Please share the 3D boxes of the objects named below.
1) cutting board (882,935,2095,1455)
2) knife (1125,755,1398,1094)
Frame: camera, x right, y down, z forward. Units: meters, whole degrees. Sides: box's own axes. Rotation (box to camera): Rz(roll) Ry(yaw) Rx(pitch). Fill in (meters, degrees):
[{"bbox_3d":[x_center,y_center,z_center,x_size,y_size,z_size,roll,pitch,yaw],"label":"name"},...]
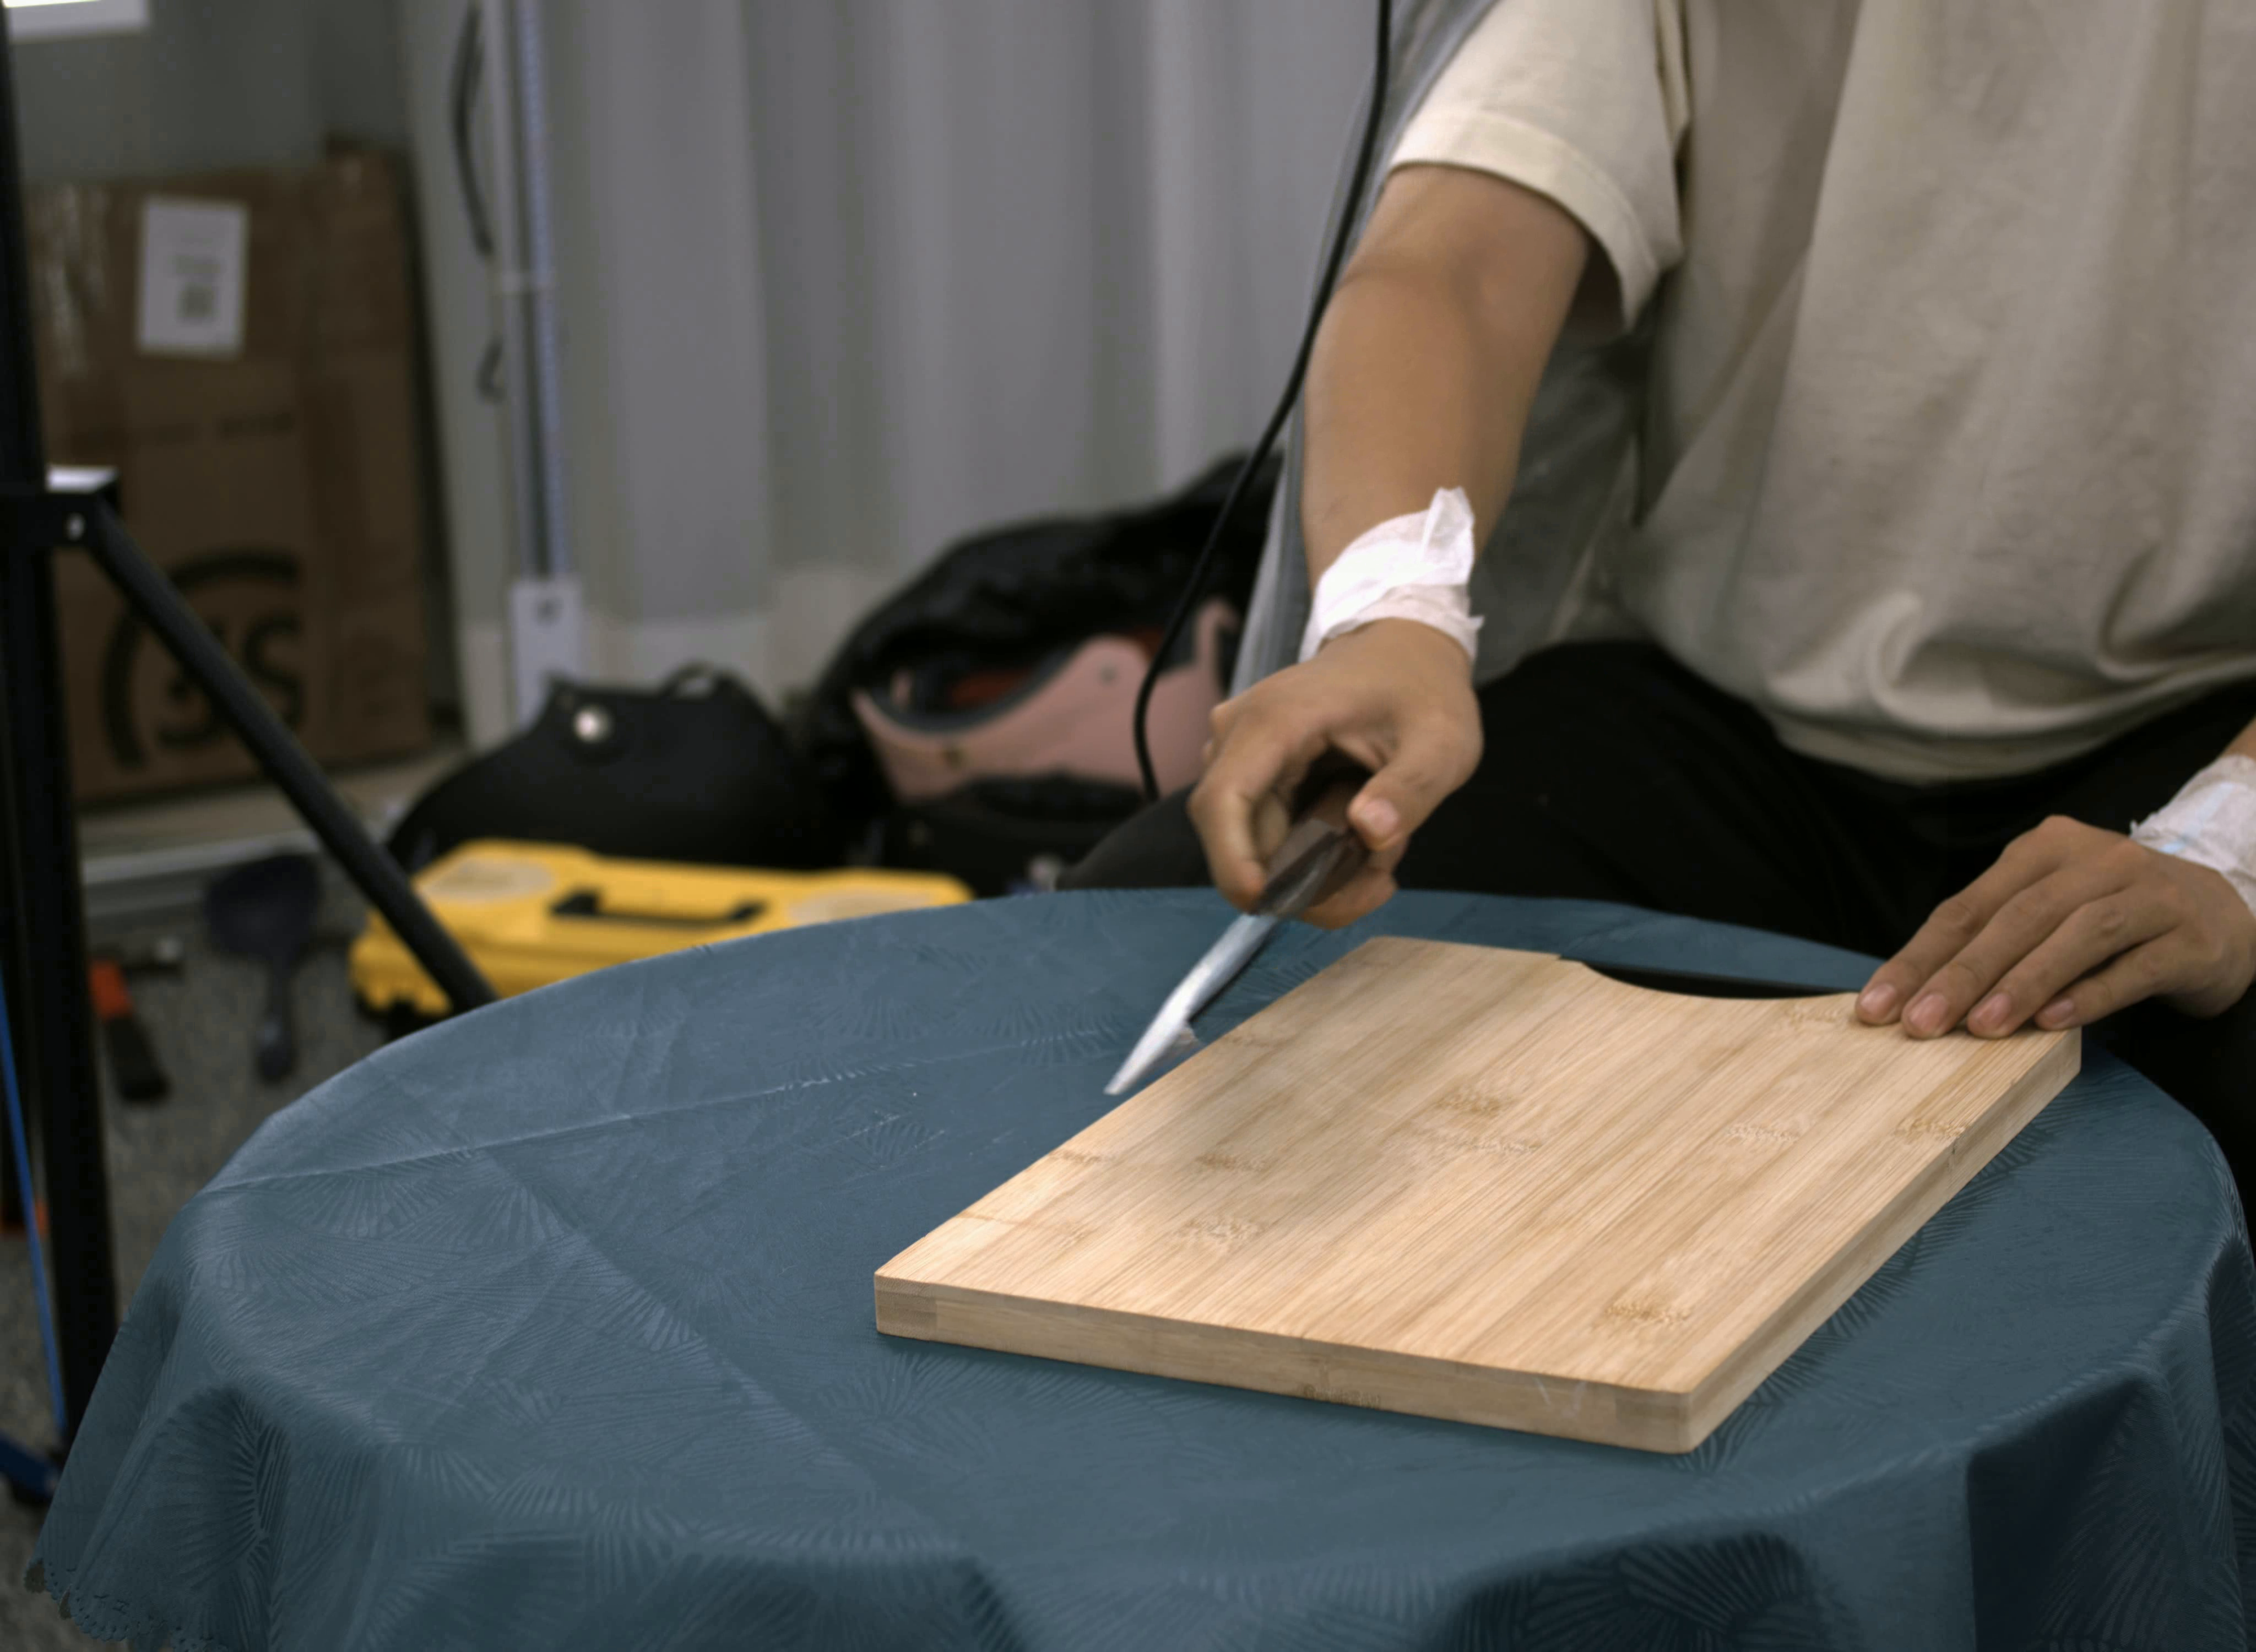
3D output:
[{"bbox_3d":[0.115,0.098,1.542,0.254,0.023,0.343,5,17,26],"label":"cutting board"},{"bbox_3d":[0.041,0.029,1.598,0.068,0.024,0.298,-43,2,15],"label":"knife"}]
